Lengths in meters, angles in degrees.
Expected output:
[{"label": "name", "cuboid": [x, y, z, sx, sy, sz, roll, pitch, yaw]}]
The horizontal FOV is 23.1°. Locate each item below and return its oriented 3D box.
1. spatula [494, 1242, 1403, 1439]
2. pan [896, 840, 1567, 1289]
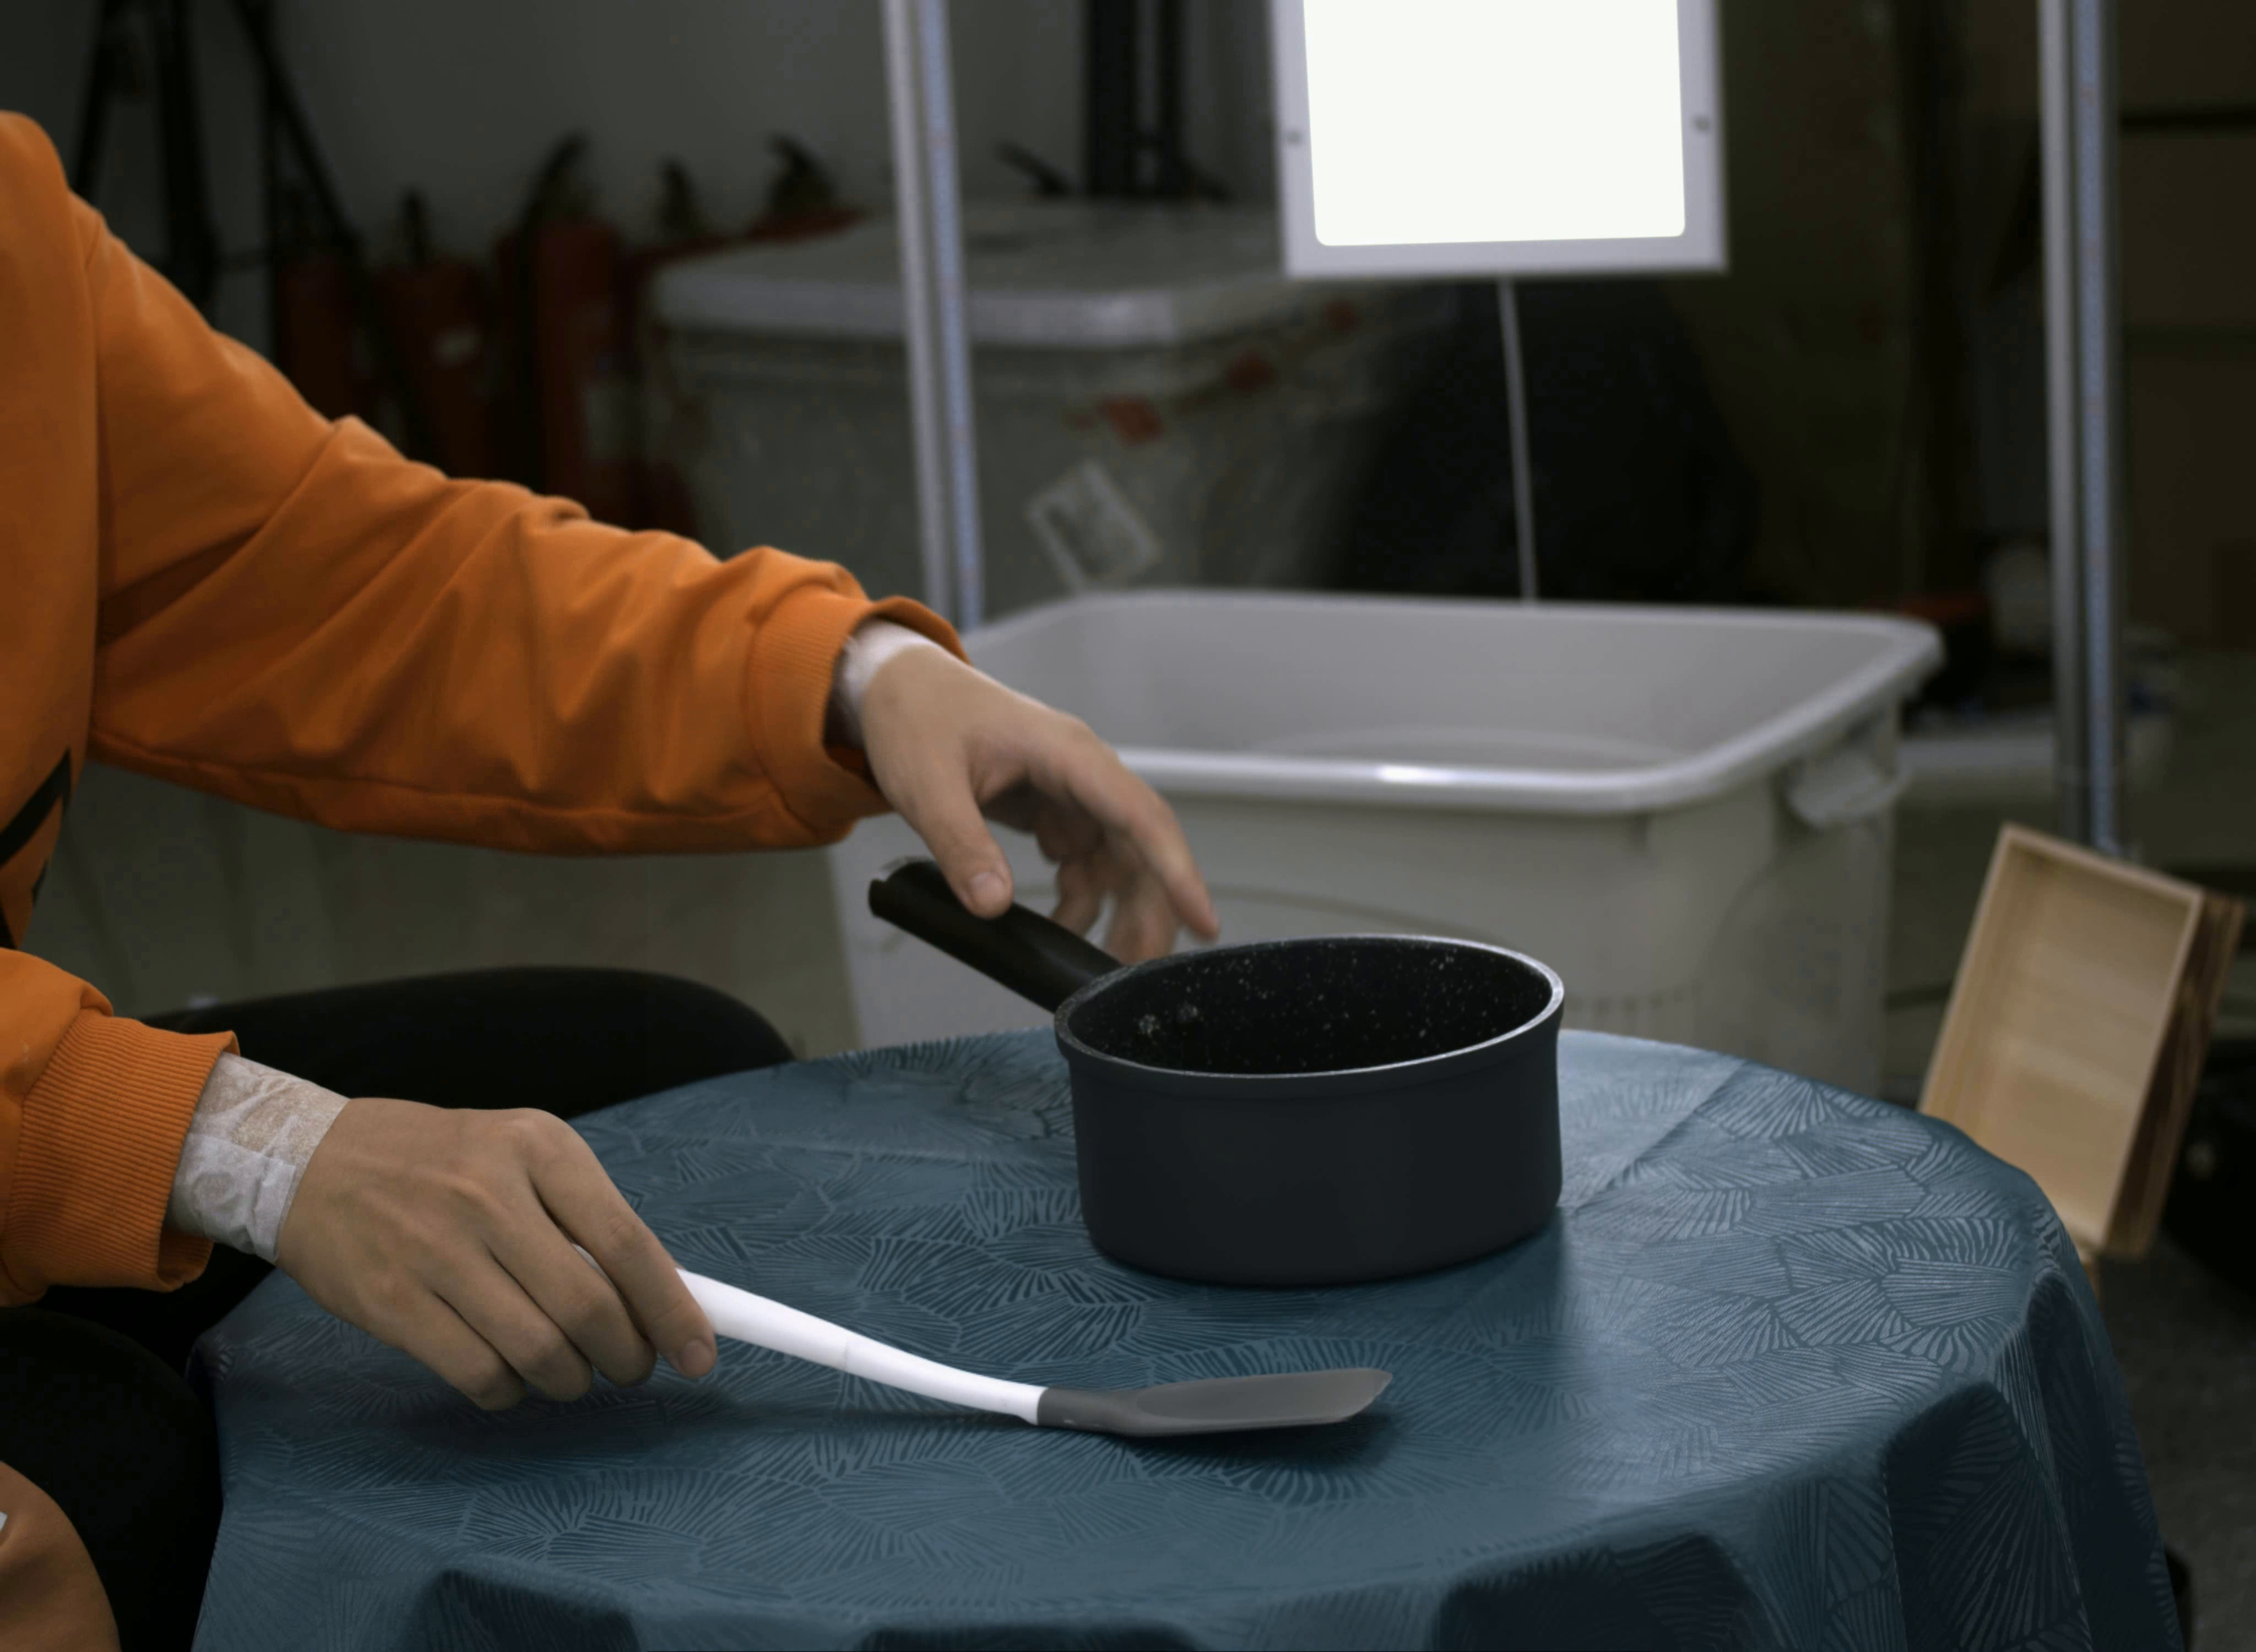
[{"label": "spatula", "cuboid": [-0.058, 0.162, 1.687, 0.291, 0.032, 0.057, 7, 10, 20]}, {"label": "pan", "cuboid": [0.018, 0.078, 1.909, 0.168, 0.087, 0.335, -13, 17, -31]}]
